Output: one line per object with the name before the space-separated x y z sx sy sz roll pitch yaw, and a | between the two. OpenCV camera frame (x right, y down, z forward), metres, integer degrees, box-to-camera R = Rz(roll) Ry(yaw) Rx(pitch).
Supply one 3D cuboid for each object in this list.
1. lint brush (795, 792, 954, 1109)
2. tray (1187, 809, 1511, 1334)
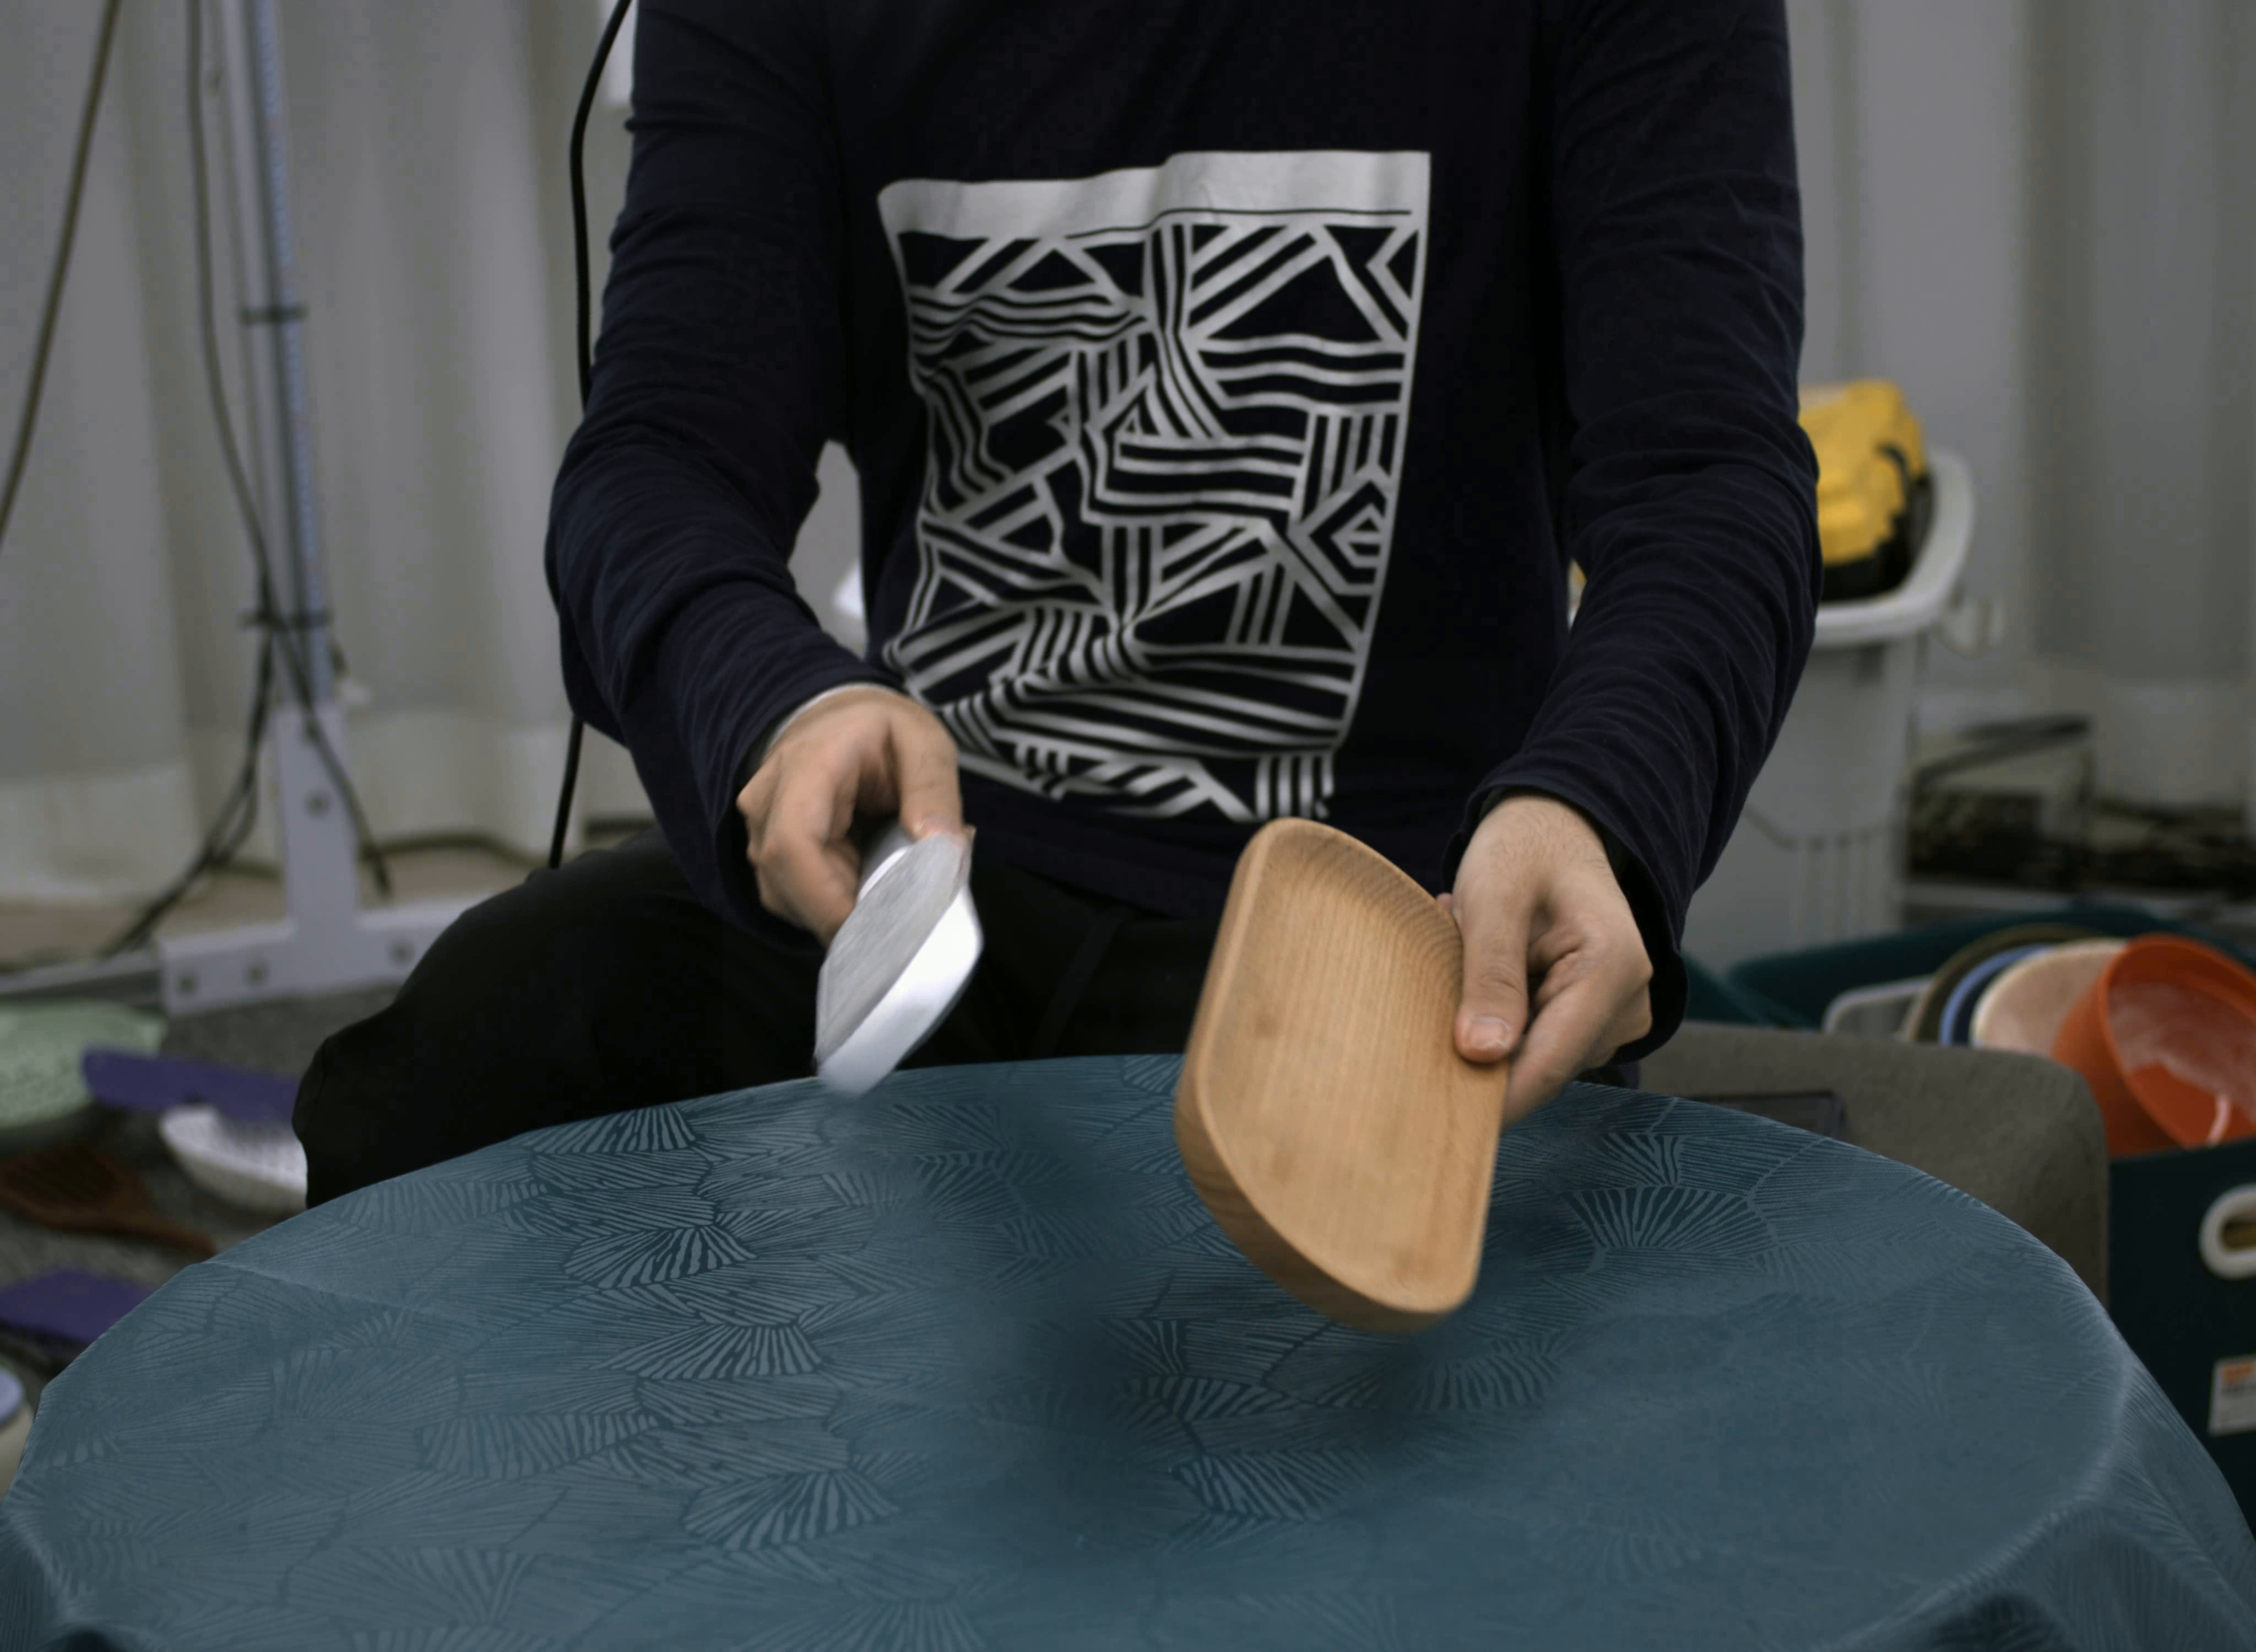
lint brush | -0.072 0.027 1.616 0.021 0.060 0.310 36 7 -8
tray | 0.064 0.069 1.573 0.101 0.020 0.233 38 24 -13
